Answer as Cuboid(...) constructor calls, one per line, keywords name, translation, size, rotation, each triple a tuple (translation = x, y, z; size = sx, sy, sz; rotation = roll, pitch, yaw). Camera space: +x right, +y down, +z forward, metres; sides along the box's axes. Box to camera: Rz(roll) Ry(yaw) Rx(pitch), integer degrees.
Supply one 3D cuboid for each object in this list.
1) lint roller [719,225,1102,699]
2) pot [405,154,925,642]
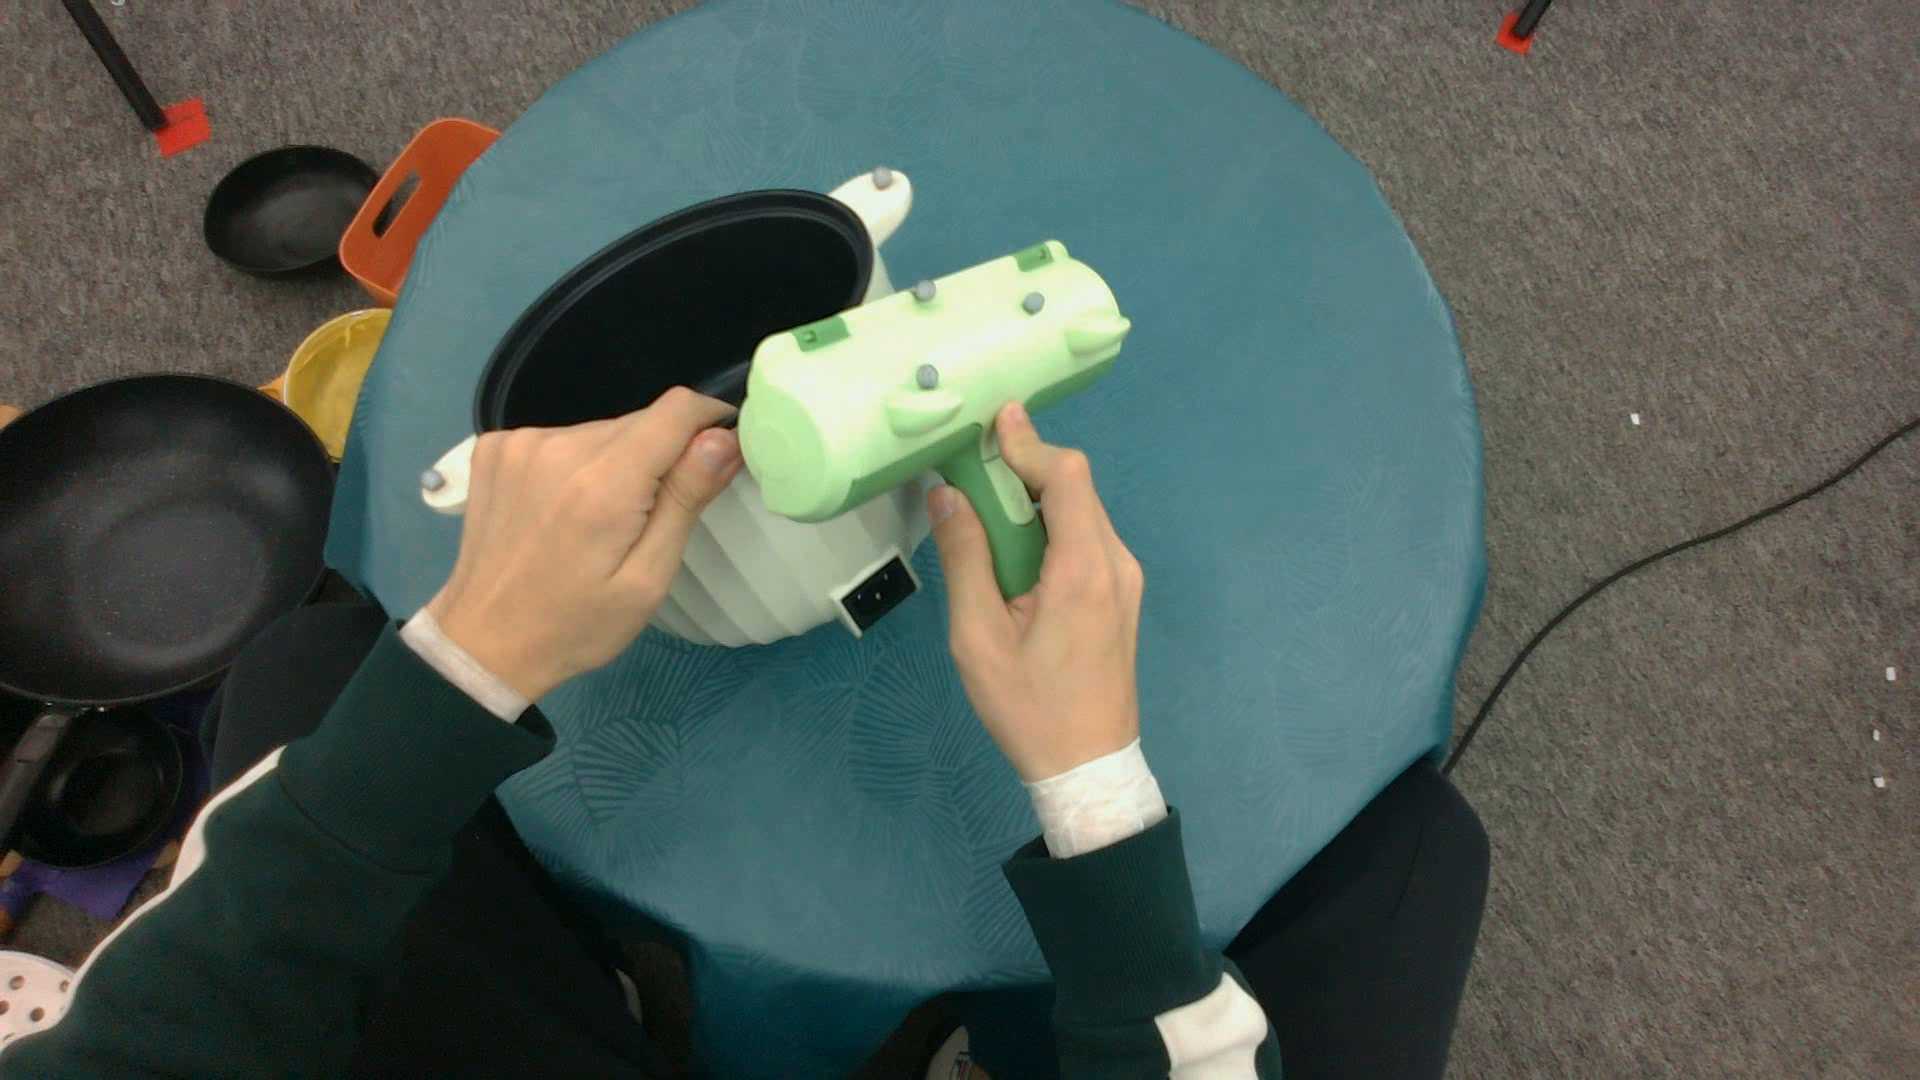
Cuboid(name="lint roller", translation=(0.017, -0.025, 0.544), size=(0.199, 0.082, 0.183), rotation=(-33, 96, -49))
Cuboid(name="pot", translation=(-0.114, -0.052, 0.619), size=(0.241, 0.142, 0.190), rotation=(-40, 47, -14))
